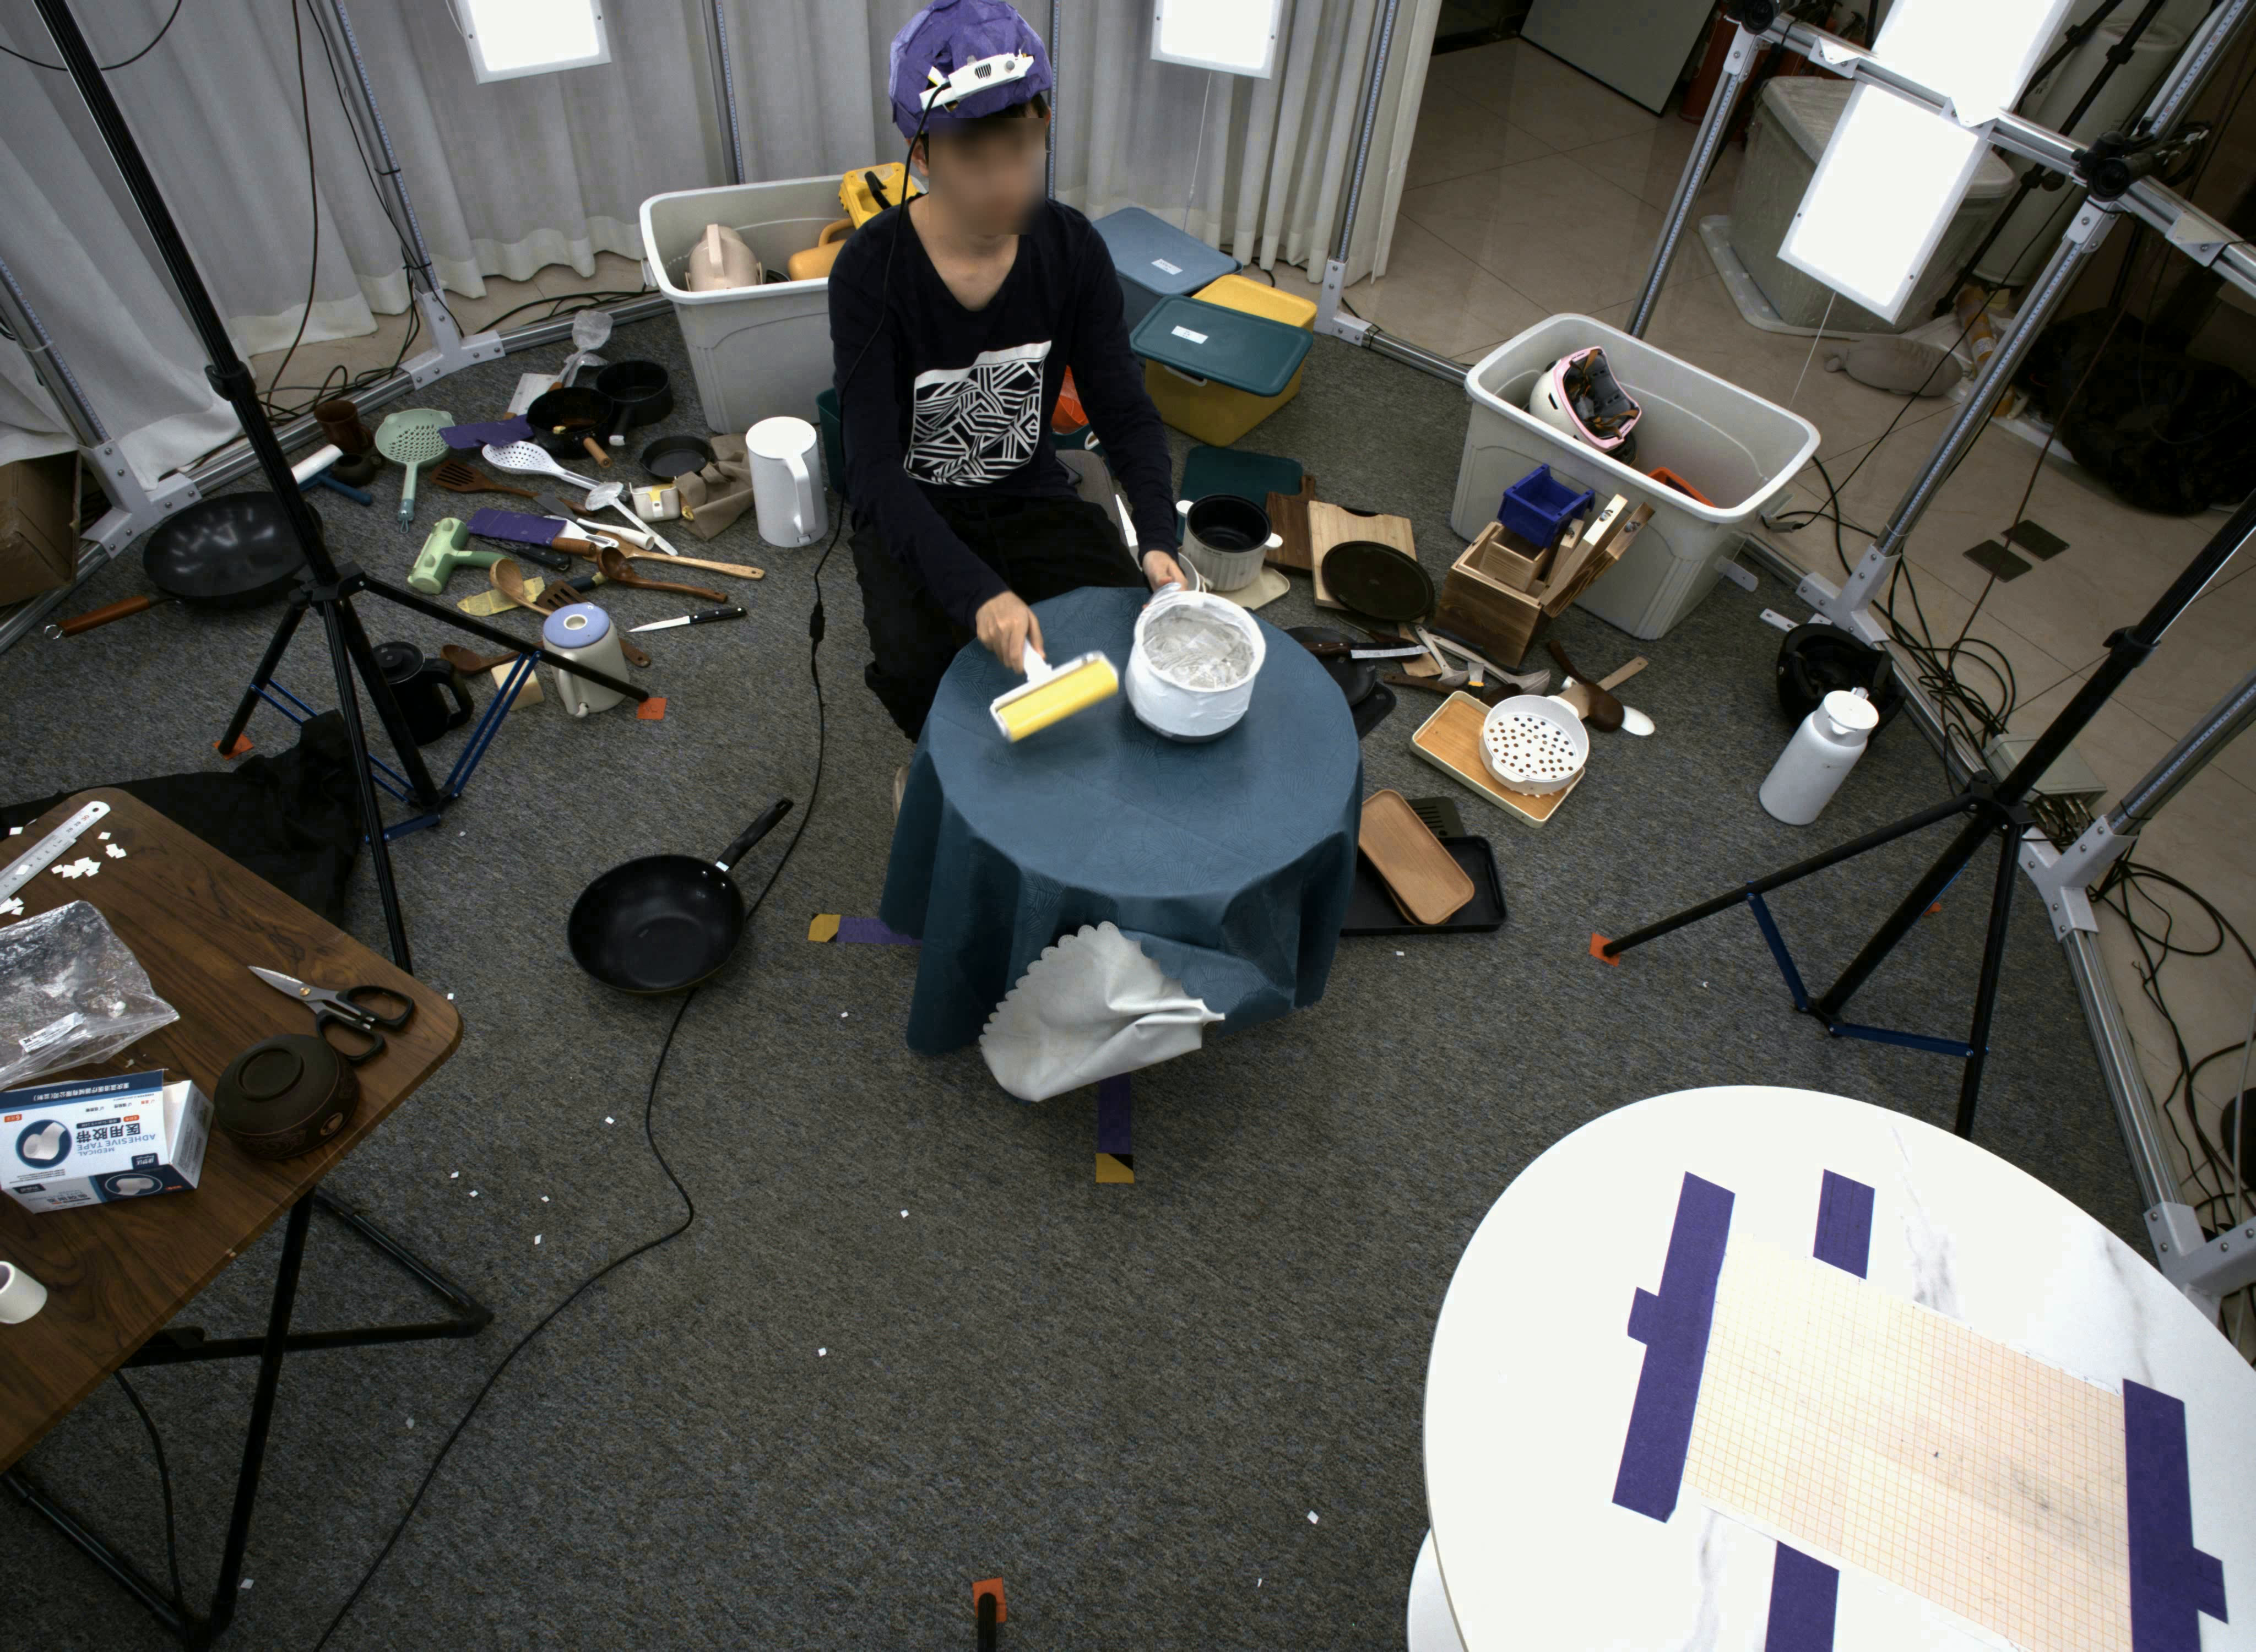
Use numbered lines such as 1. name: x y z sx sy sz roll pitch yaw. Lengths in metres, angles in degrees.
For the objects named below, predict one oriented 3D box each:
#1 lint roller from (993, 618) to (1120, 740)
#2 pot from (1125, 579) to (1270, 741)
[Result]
1. lint roller: -0.129 -0.226 1.750 0.175 0.050 0.195 -31 63 -11
2. pot: 0.081 -0.239 1.770 0.178 0.134 0.238 -11 61 -20
